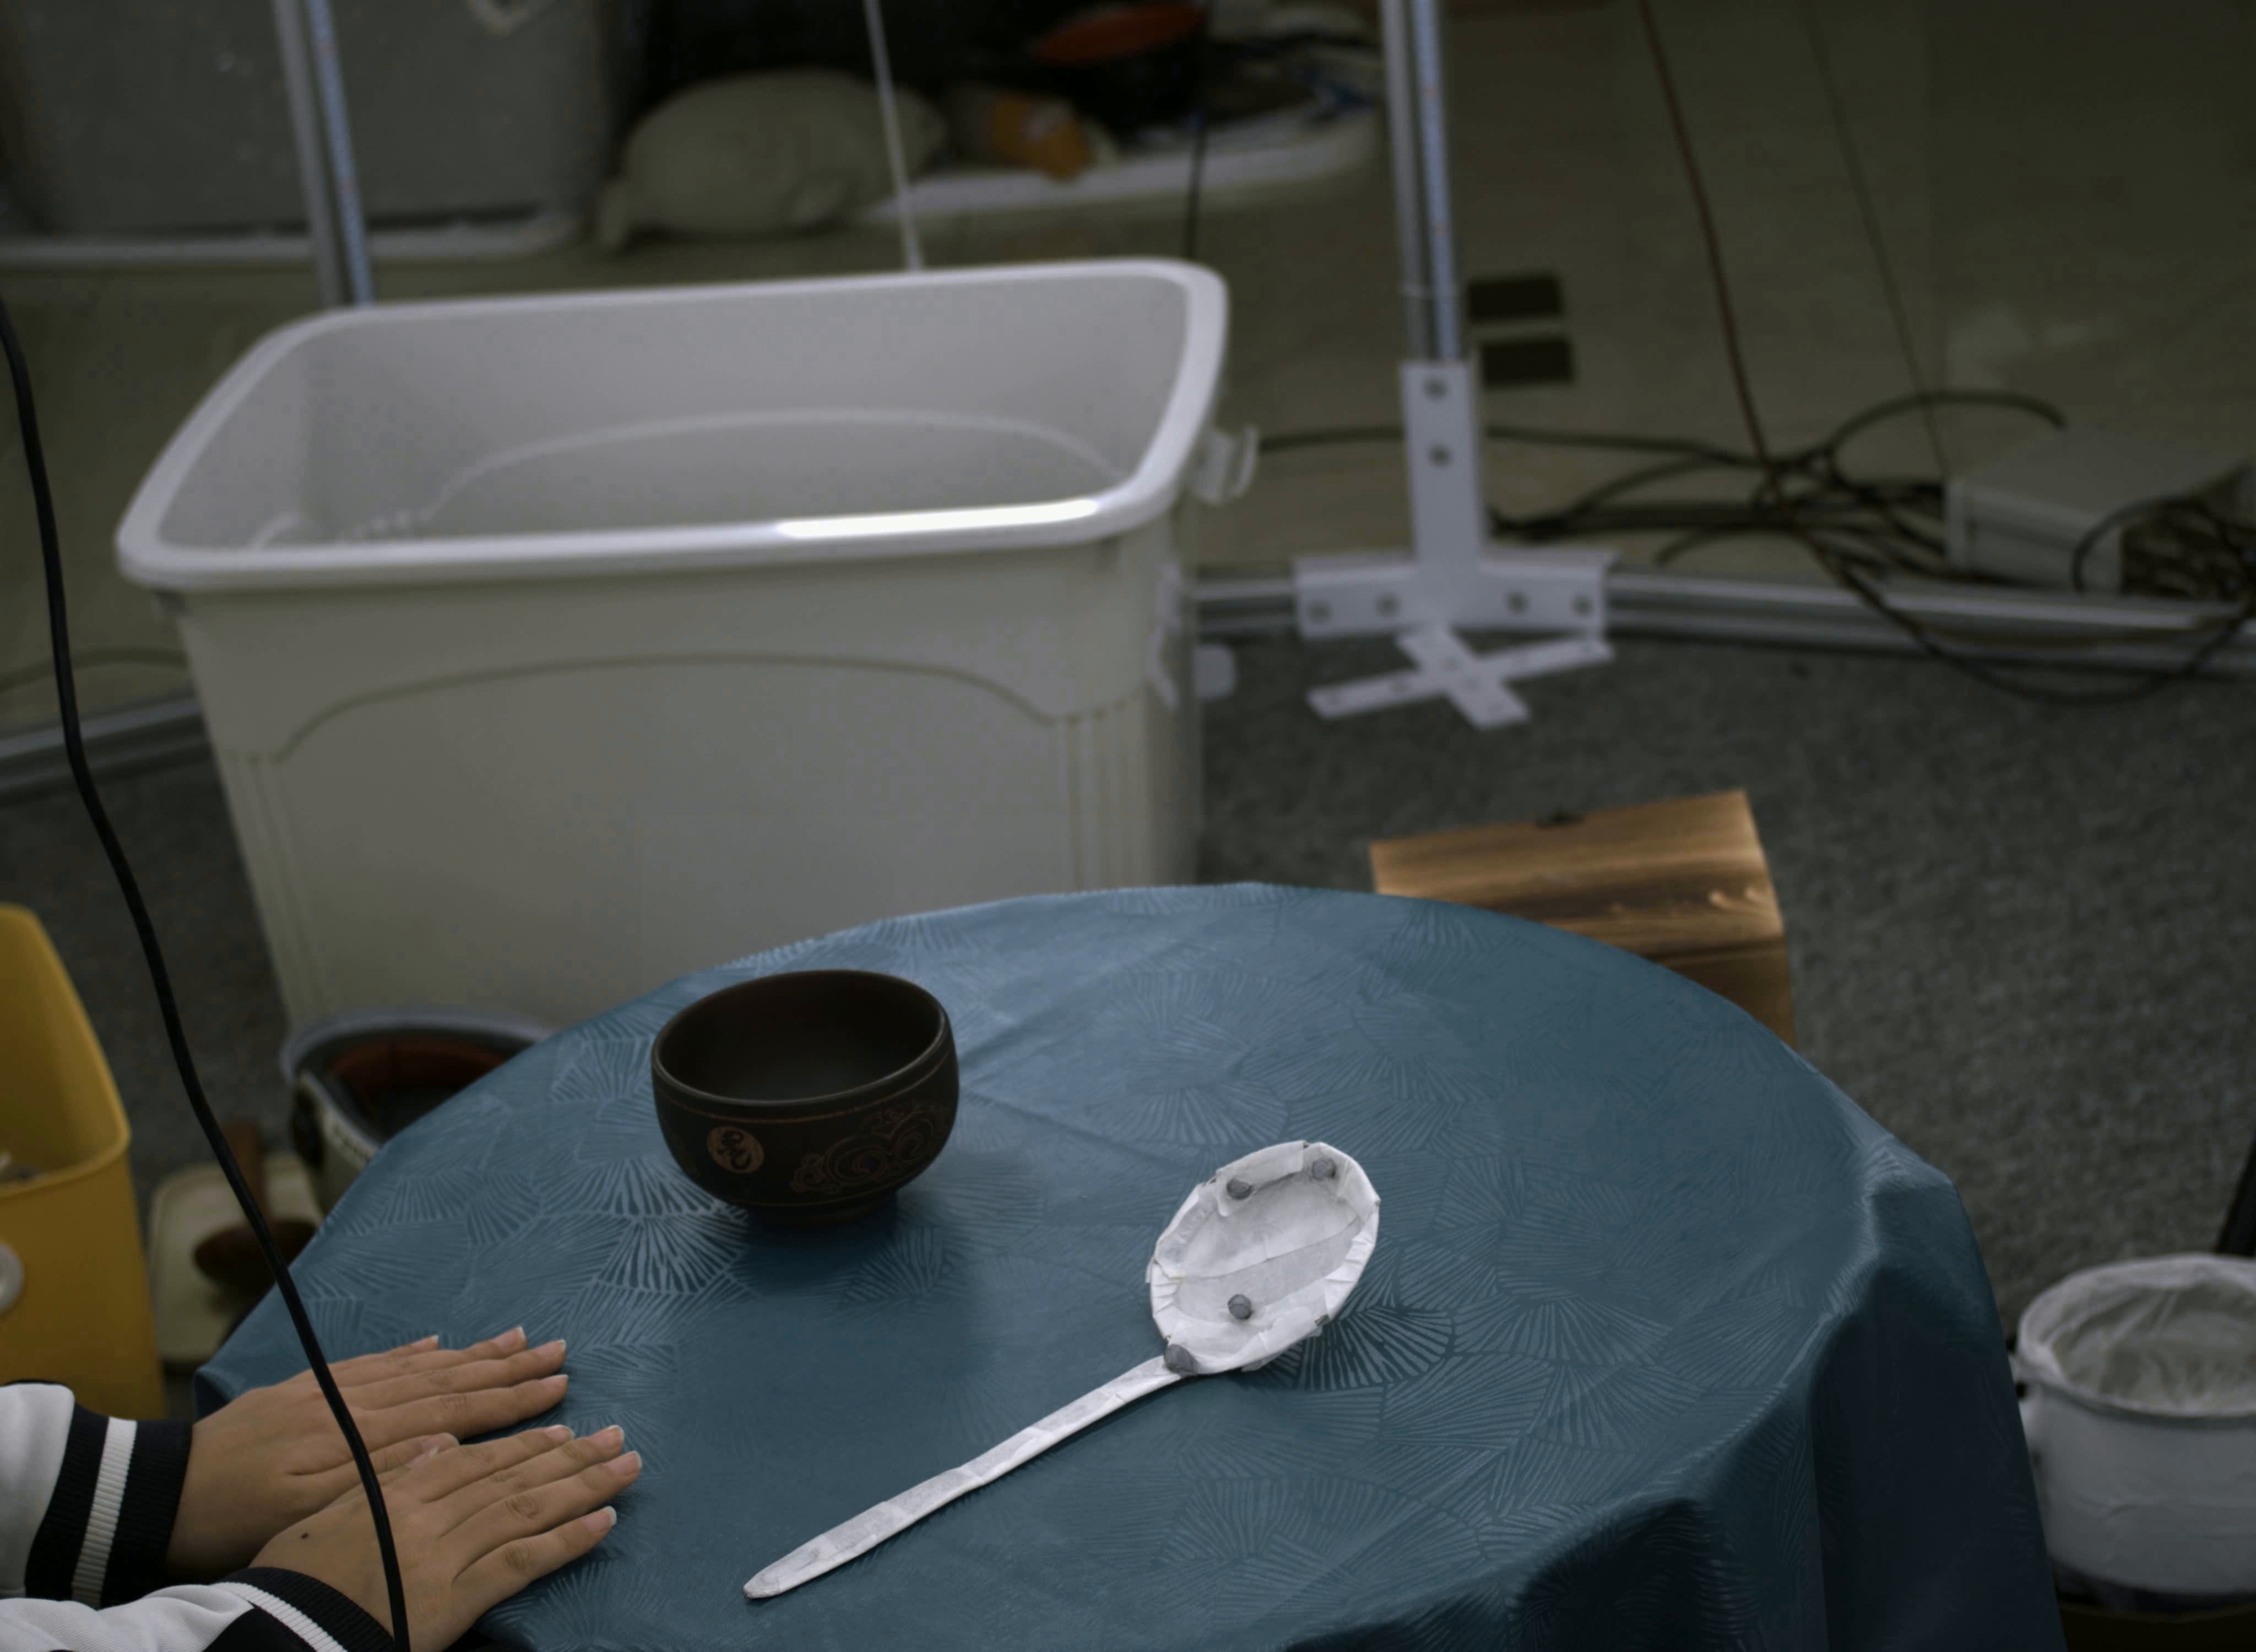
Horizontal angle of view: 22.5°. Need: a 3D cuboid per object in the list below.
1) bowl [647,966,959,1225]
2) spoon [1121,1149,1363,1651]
[{"bbox_3d":[-0.121,0.108,2.156,0.118,0.071,0.116,-6,25,3],"label":"bowl"},{"bbox_3d":[0.049,0.251,2.030,0.101,0.276,0.059,-13,-11,37],"label":"spoon"}]
